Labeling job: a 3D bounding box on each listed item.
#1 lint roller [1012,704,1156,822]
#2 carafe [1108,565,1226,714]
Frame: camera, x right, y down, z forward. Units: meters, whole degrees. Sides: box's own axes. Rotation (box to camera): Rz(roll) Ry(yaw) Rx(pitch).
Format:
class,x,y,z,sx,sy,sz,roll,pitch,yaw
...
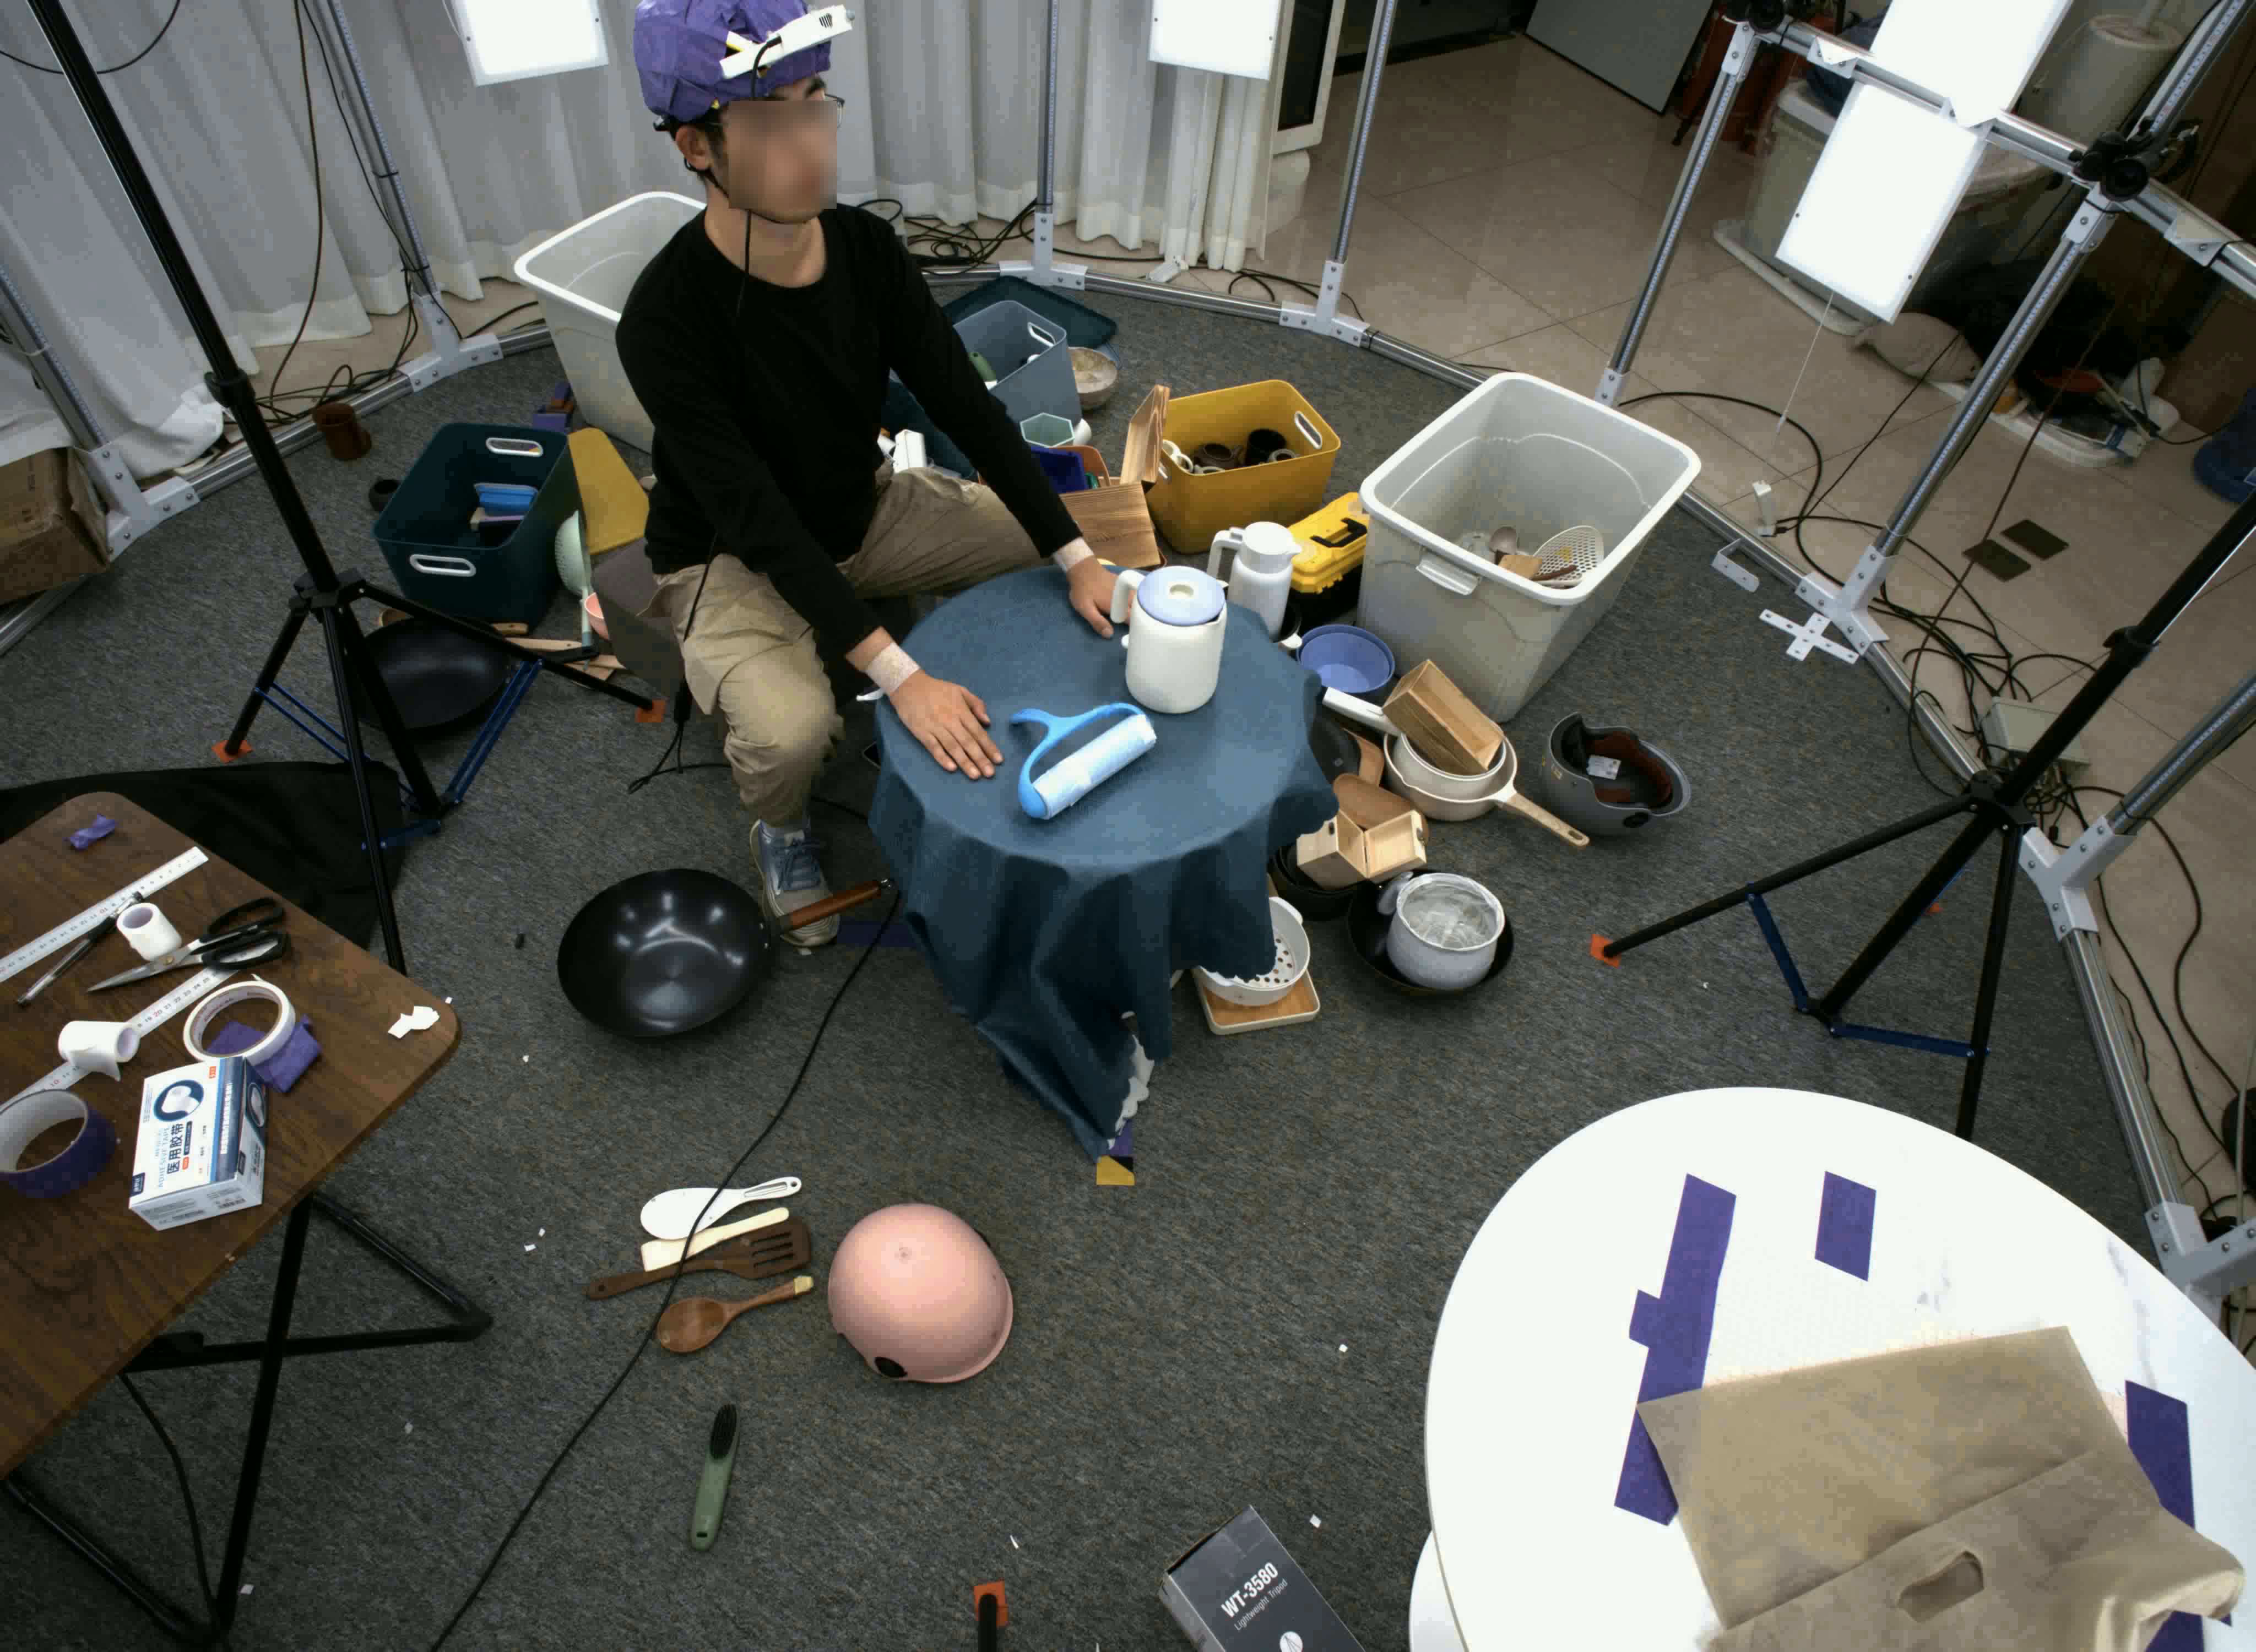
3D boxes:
class,x,y,z,sx,sy,sz,roll,pitch,yaw
lint roller,-0.092,-0.115,1.725,0.182,0.066,0.231,39,60,22
carafe,0.048,-0.272,1.798,0.194,0.178,0.133,34,55,26
